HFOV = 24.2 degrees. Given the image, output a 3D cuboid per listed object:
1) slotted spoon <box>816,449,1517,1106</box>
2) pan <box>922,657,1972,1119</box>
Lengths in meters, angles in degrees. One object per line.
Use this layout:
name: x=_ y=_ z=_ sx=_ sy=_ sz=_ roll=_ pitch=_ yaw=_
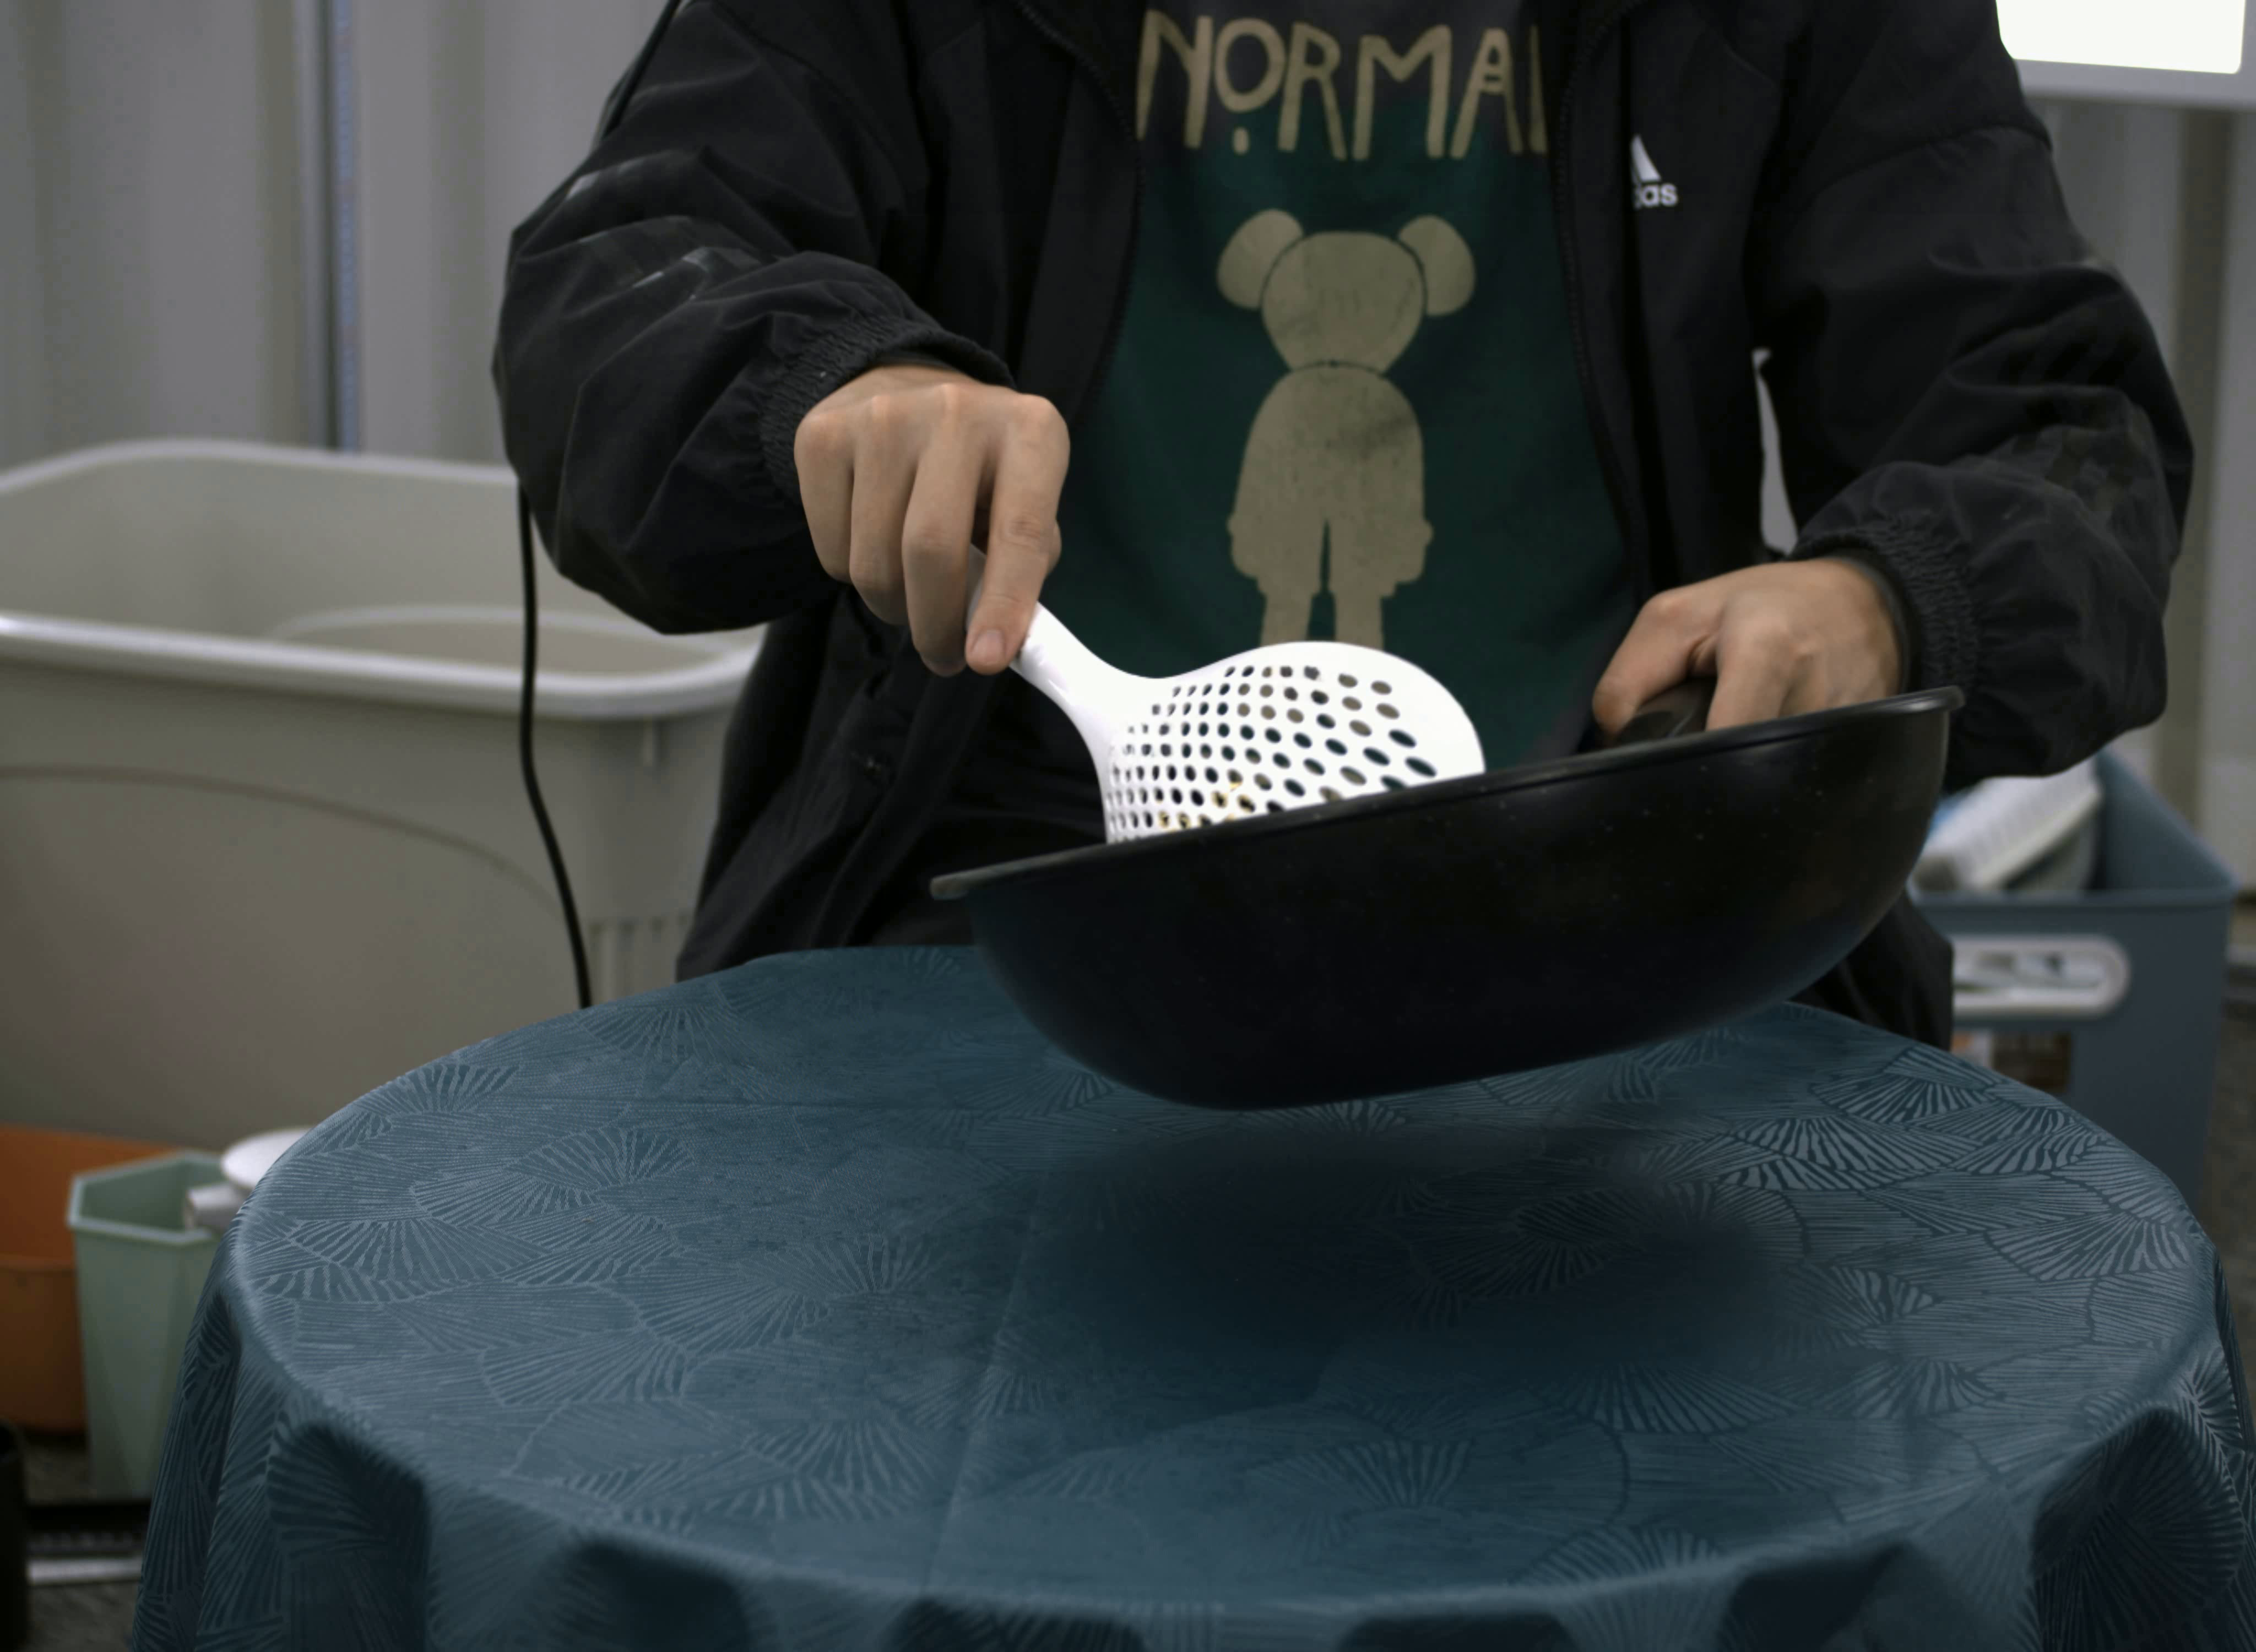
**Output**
slotted spoon: x=-0.005 y=-0.036 z=1.596 sx=0.051 sy=0.137 sz=0.343 roll=19 pitch=13 yaw=-37
pan: x=0.129 y=0.013 z=1.617 sx=0.307 sy=0.112 sz=0.479 roll=-9 pitch=0 yaw=23
